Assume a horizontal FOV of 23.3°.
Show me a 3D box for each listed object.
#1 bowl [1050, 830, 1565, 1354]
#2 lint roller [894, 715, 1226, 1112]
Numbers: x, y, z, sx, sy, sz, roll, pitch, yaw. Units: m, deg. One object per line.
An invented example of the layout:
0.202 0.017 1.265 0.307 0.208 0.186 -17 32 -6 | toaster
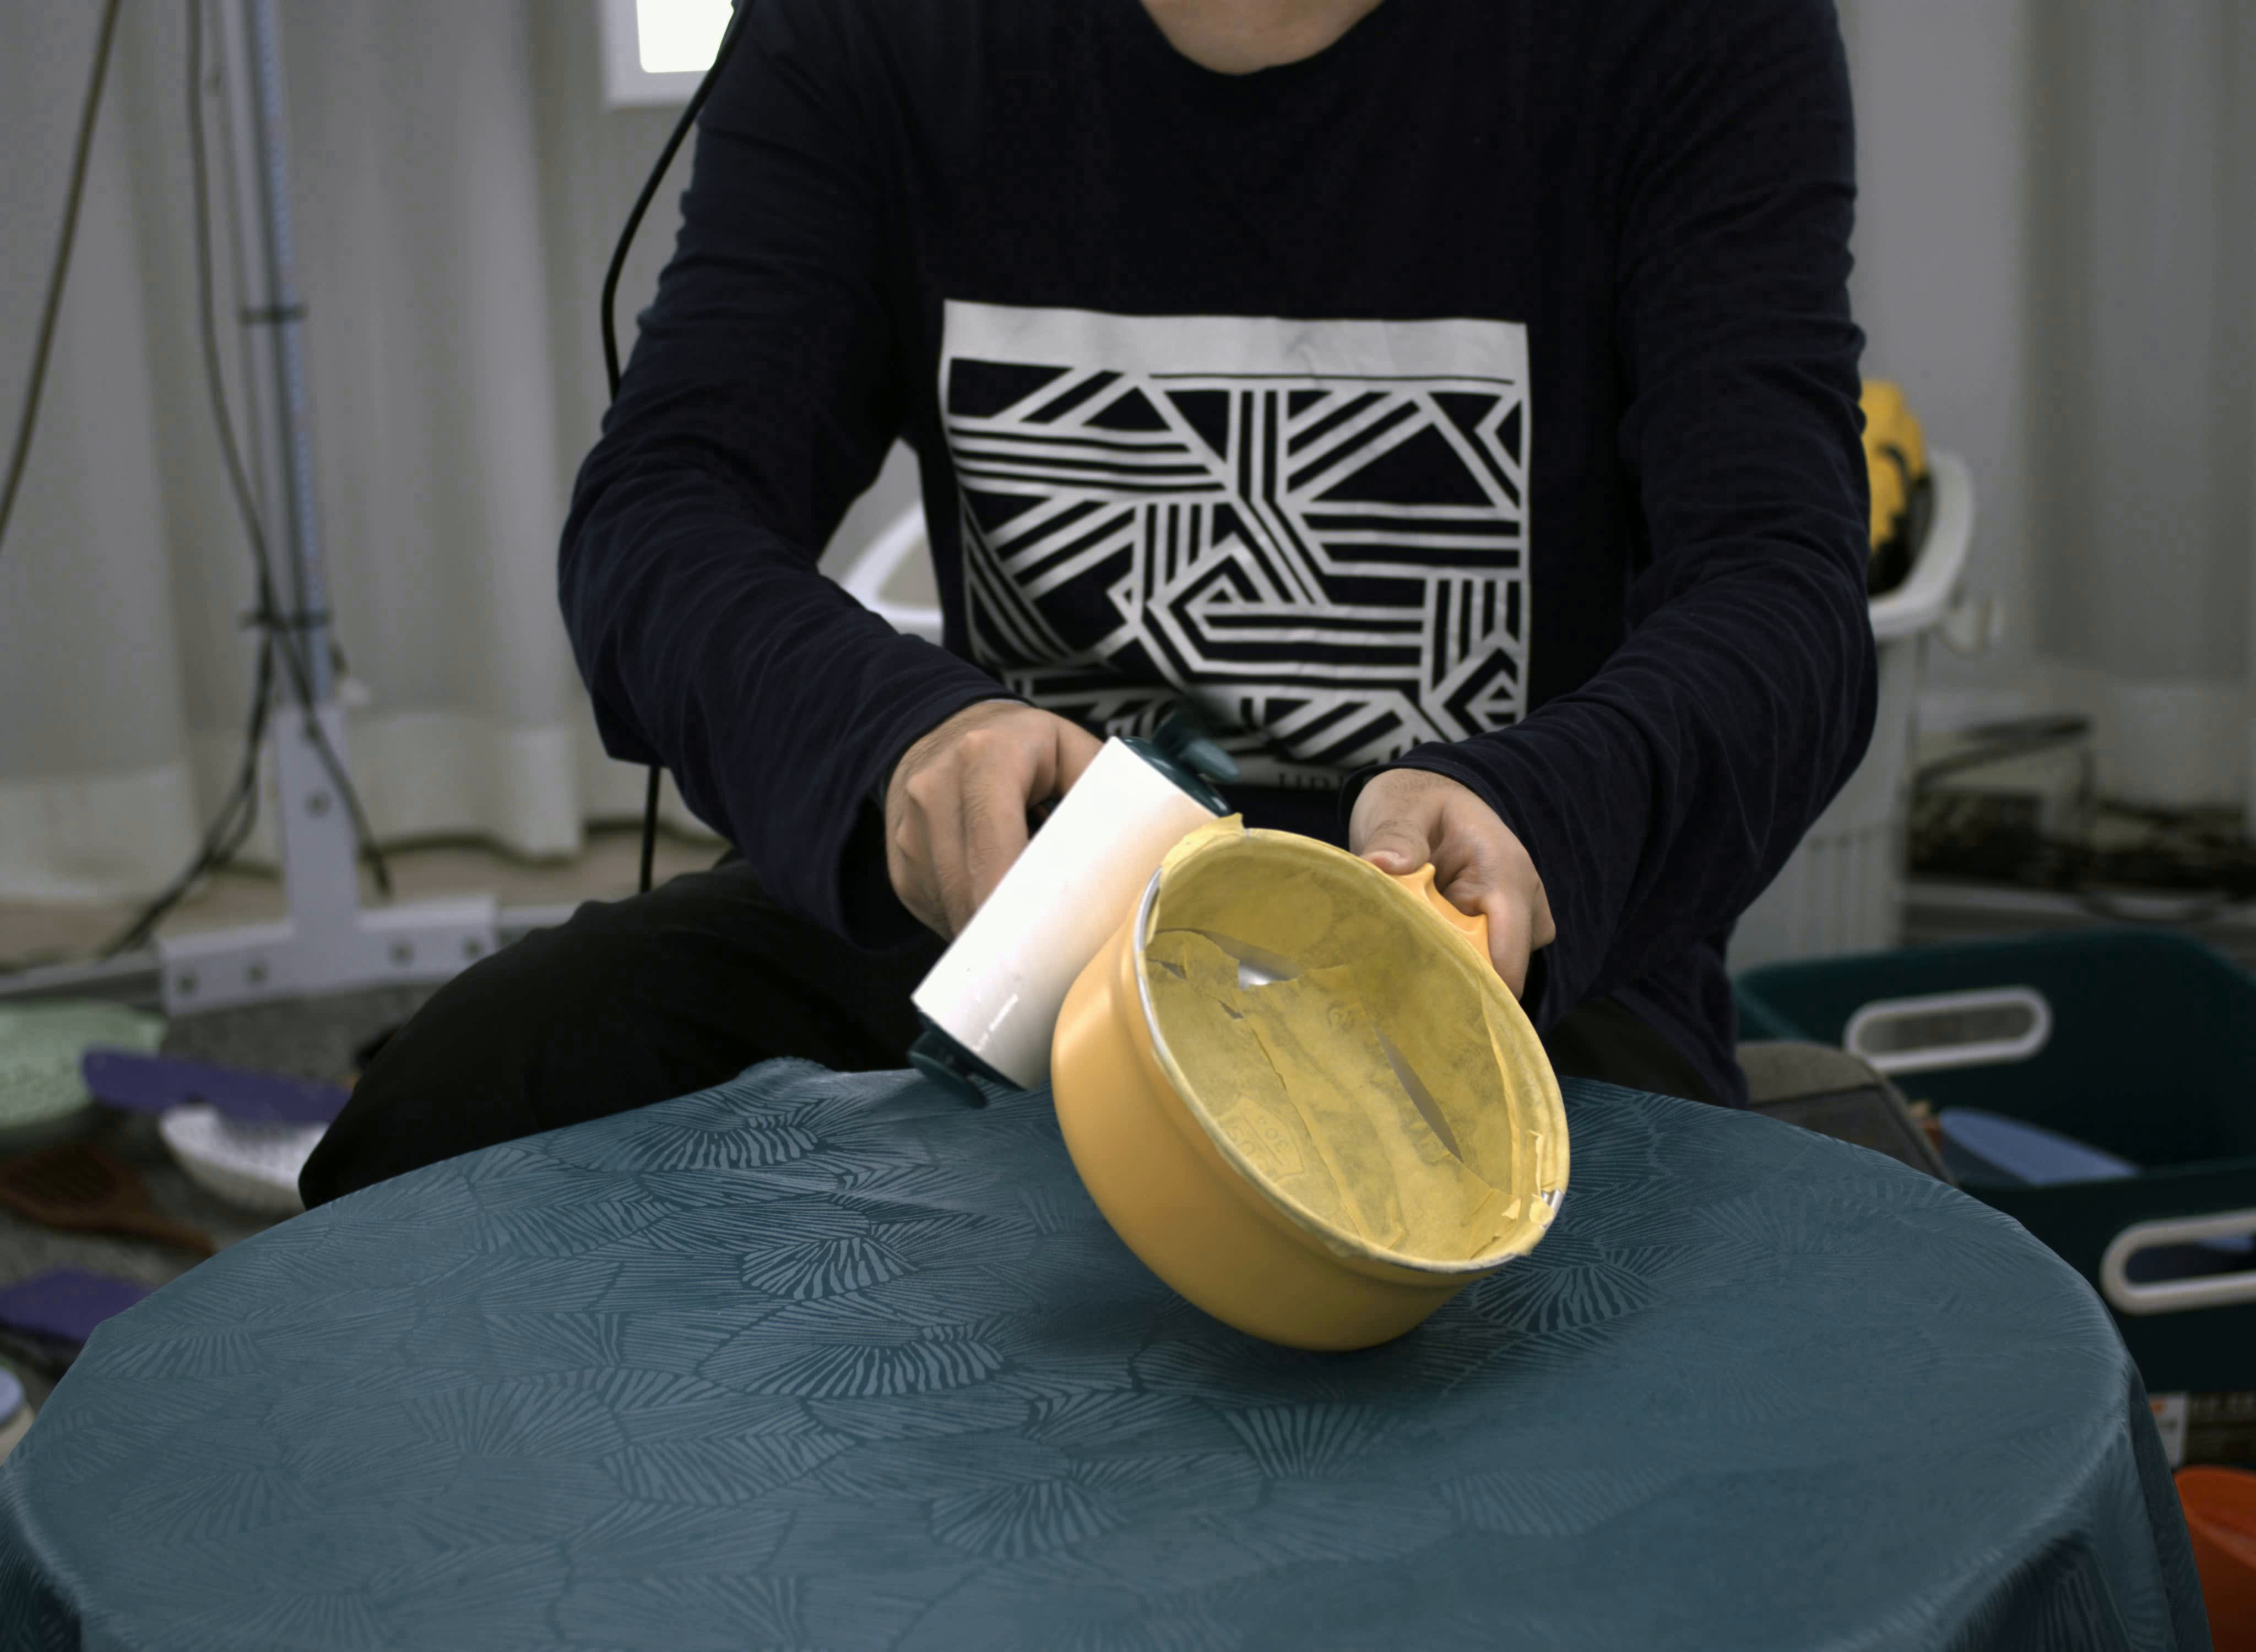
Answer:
0.053 0.076 1.592 0.152 0.074 0.181 36 36 -4 | bowl
-0.032 0.015 1.689 0.048 0.134 0.181 38 1 -15 | lint roller
